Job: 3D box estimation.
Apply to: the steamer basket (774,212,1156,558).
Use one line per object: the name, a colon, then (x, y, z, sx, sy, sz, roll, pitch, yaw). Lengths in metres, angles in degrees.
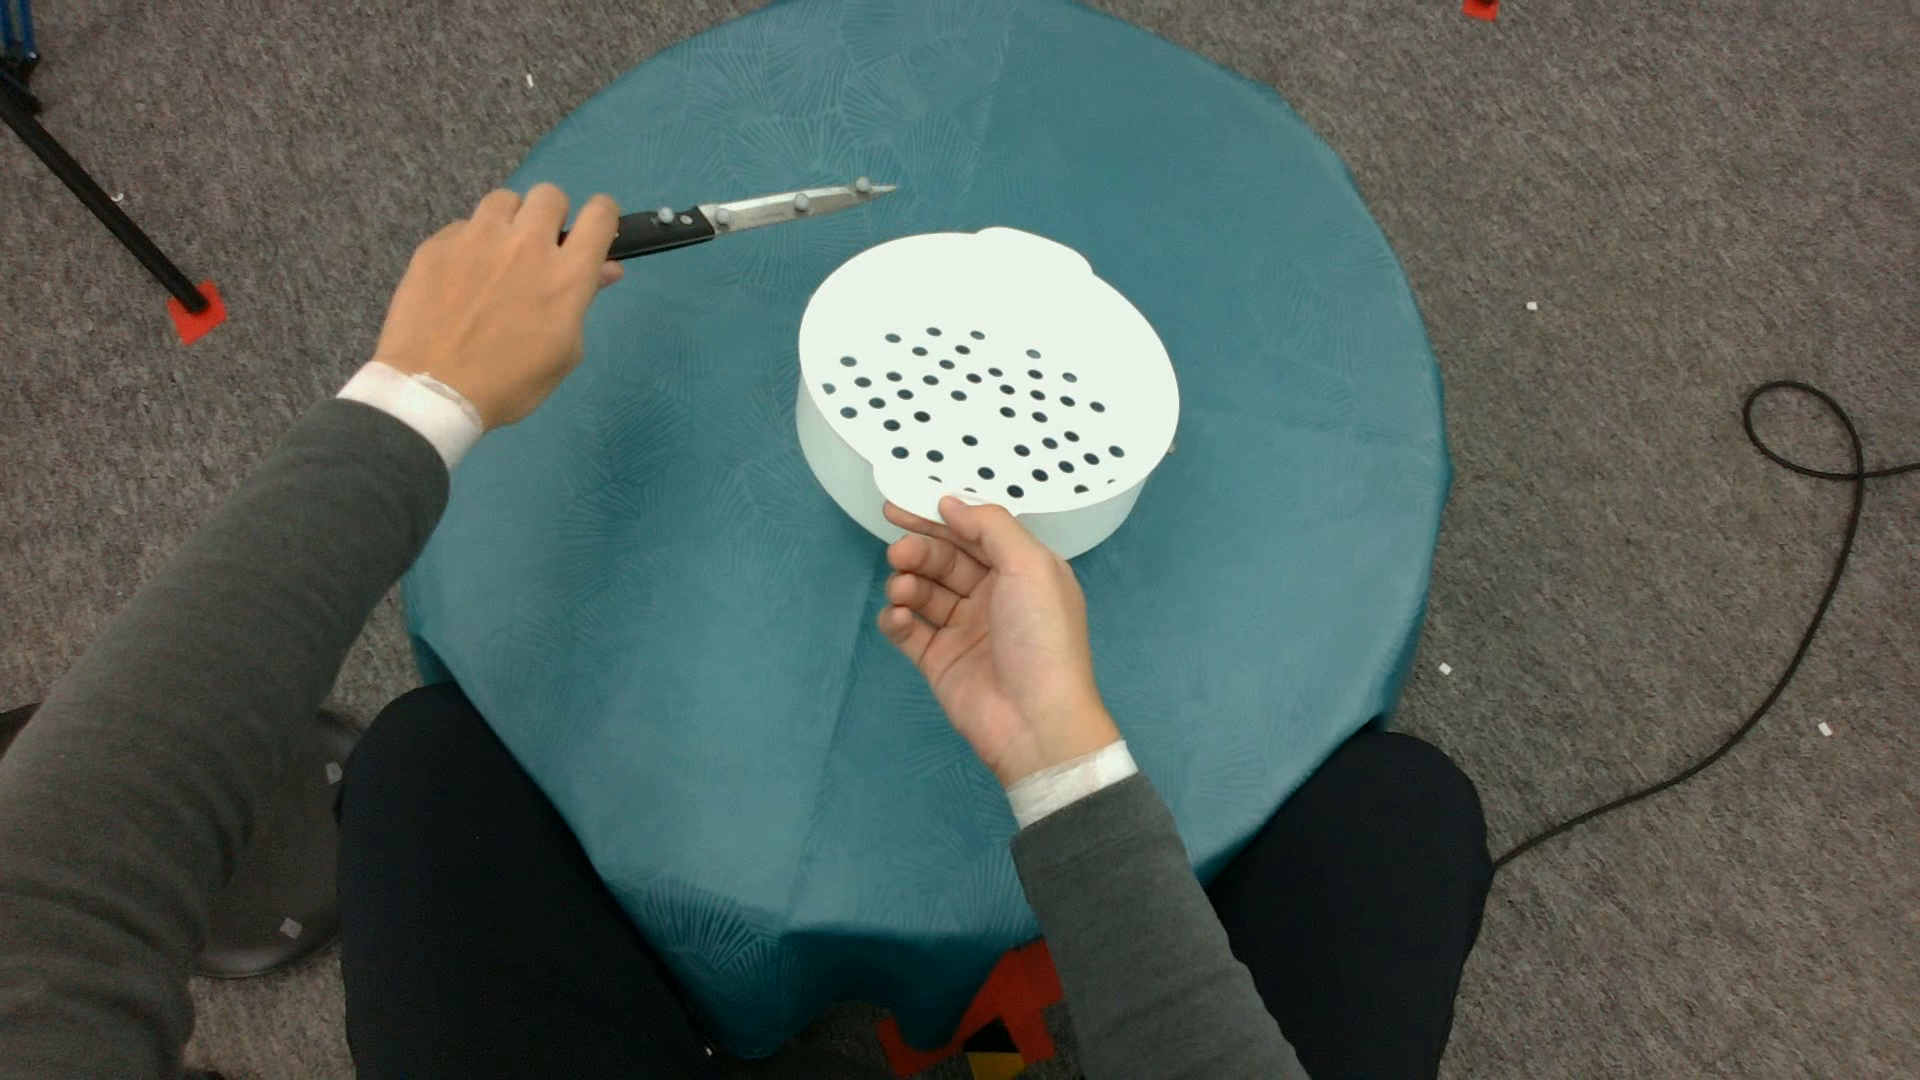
steamer basket: (0.000, -0.082, 0.737, 0.202, 0.069, 0.232, 18, 50, 0)

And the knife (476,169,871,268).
knife: (-0.141, -0.176, 0.736, 0.239, 0.016, 0.024, -22, 66, -35)
